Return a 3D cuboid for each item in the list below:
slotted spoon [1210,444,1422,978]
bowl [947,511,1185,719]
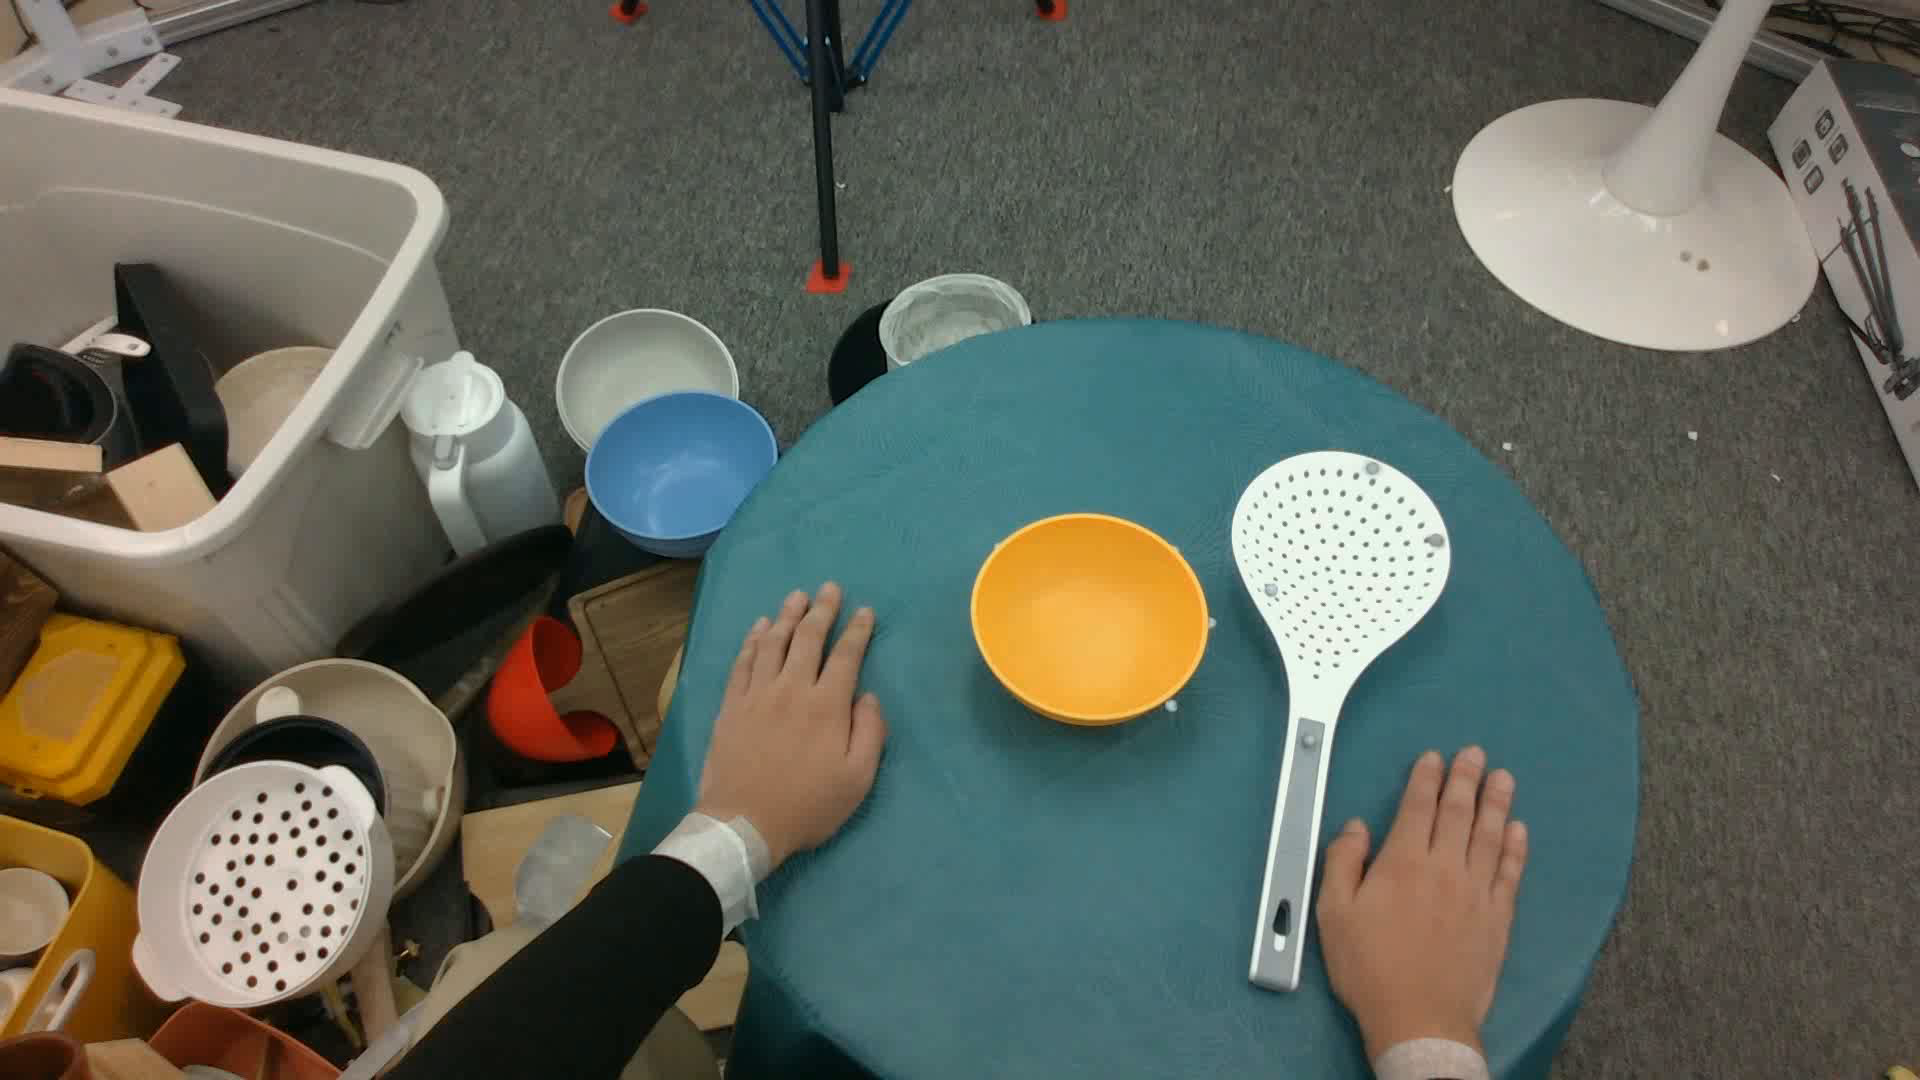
[{"bbox_3d":[0.202,0.091,0.843,0.136,0.045,0.351,13,58,7],"label":"slotted spoon"},{"bbox_3d":[0.064,0.056,0.855,0.145,0.060,0.146,0,55,0],"label":"bowl"}]
